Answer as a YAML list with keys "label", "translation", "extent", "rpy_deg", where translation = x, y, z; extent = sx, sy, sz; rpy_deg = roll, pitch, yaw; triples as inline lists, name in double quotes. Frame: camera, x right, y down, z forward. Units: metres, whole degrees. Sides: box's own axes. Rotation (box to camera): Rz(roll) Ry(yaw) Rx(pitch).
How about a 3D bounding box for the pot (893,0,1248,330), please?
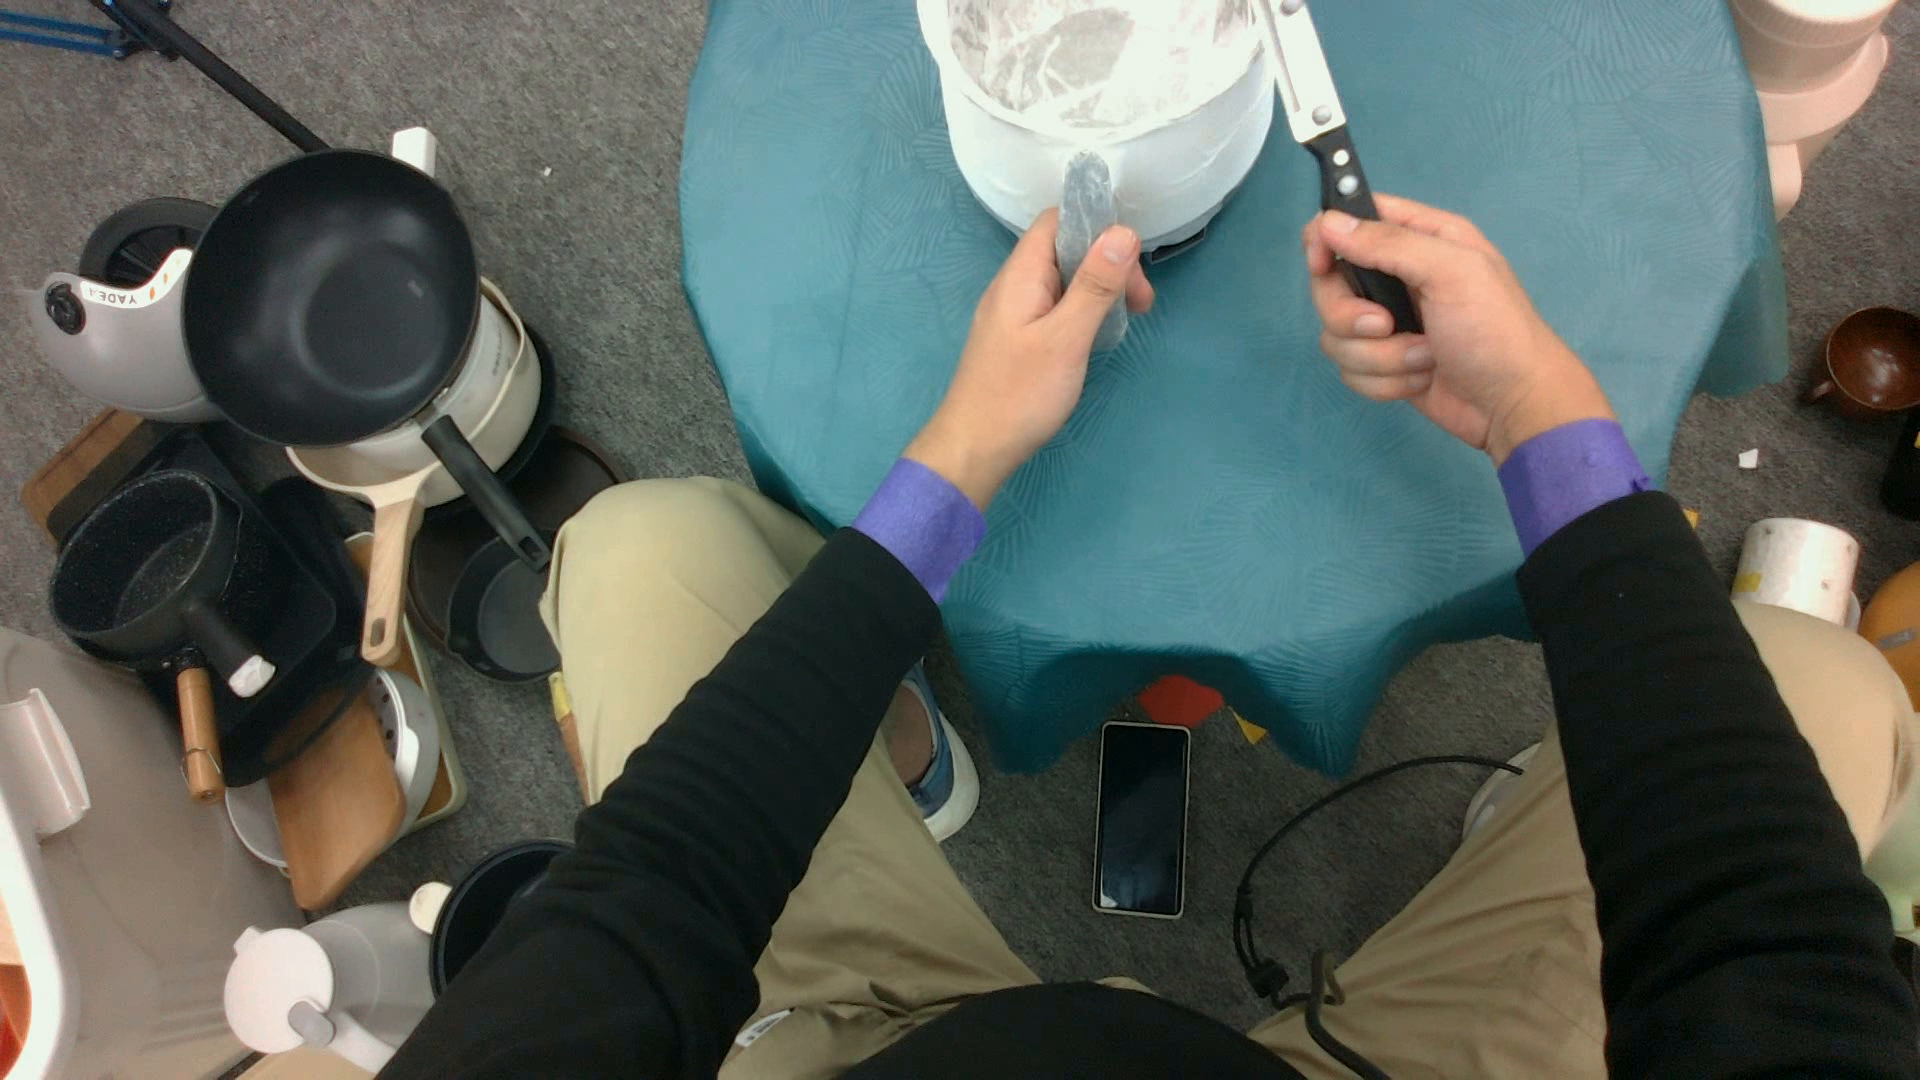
- label: "pot"
  translation: [0.061, -0.233, 0.709]
  extent: [0.178, 0.136, 0.234]
  rpy_deg: [1, 72, 9]

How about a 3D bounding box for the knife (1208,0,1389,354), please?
- label: "knife"
  translation: [0.147, -0.198, 0.630]
  extent: [0.024, 0.016, 0.238]
  rpy_deg: [-24, 97, 3]
